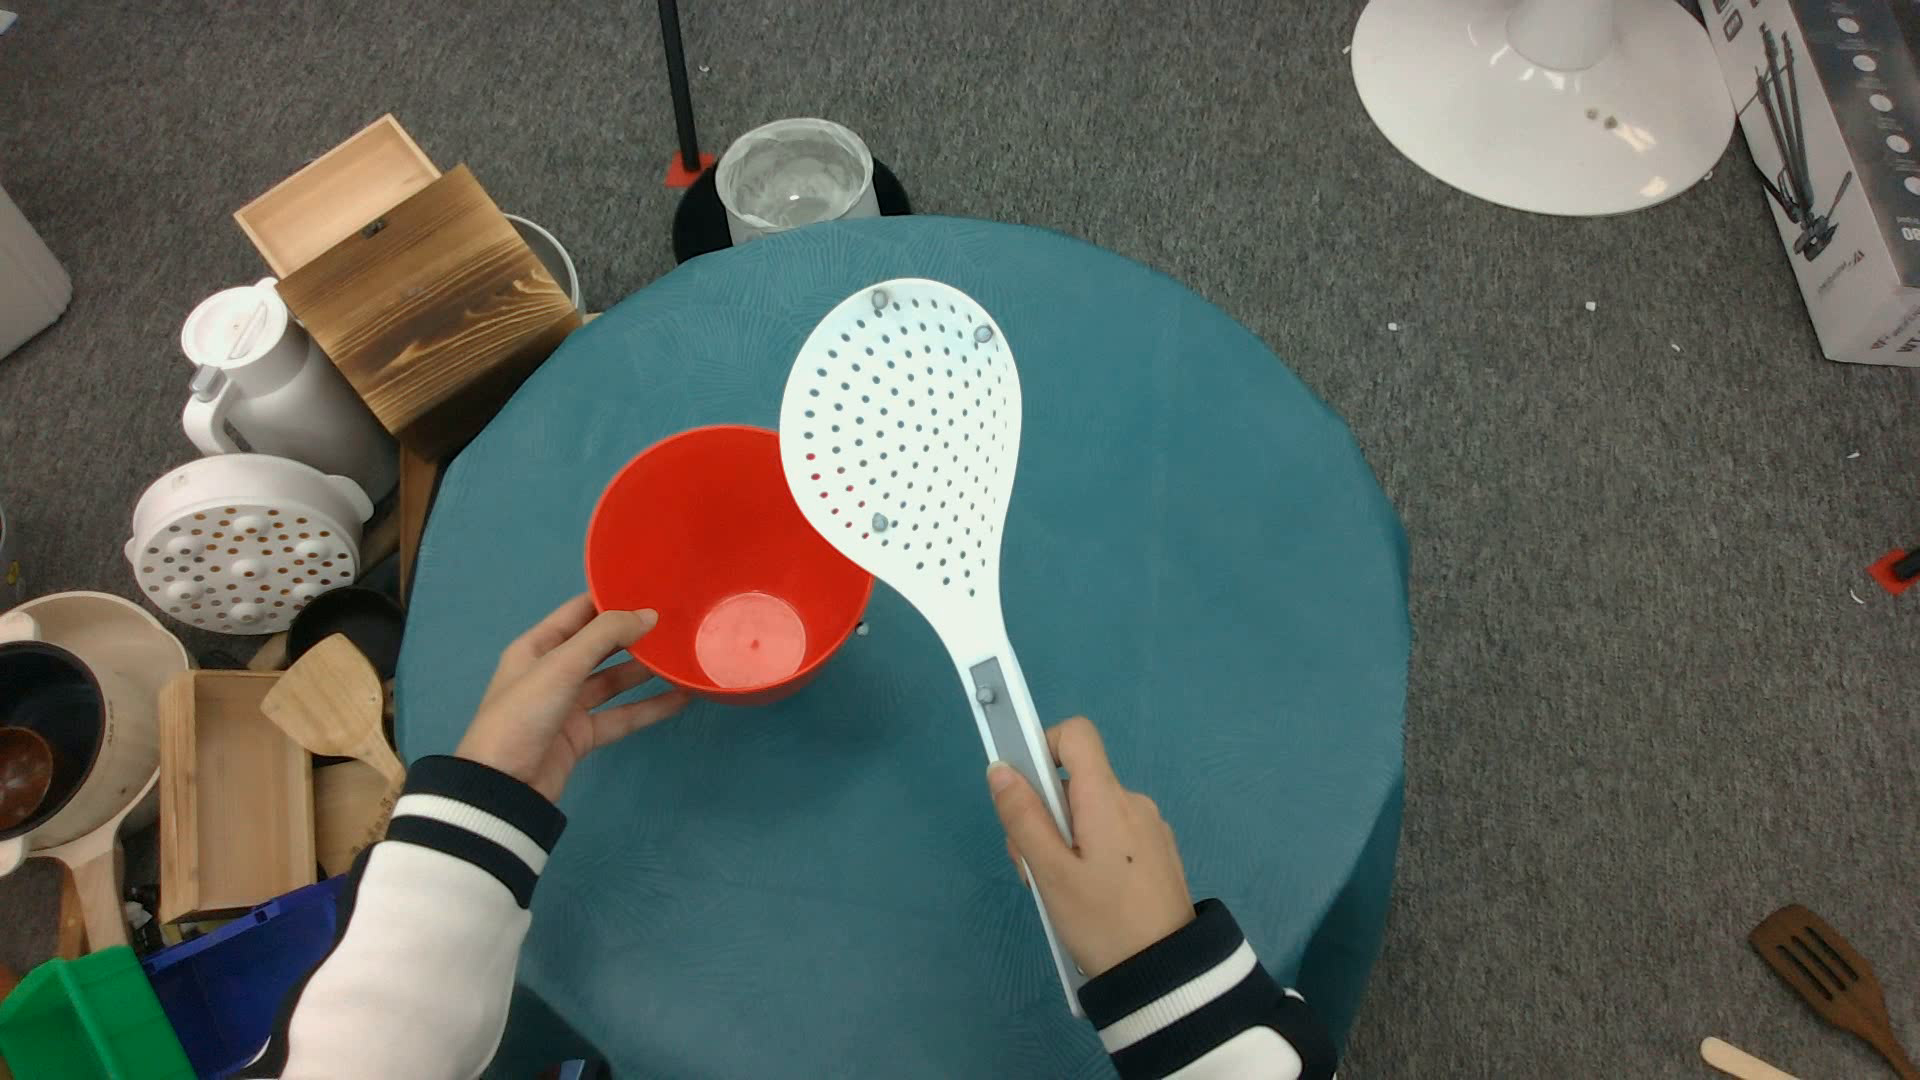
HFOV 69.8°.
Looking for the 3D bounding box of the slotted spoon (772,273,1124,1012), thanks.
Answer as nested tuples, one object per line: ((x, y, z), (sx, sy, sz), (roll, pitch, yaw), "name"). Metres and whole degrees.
((0.004, 0.039, 0.632), (0.135, 0.046, 0.350), (-27, 69, 25), "slotted spoon")

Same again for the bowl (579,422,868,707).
((-0.126, 0.026, 0.747), (0.148, 0.104, 0.148), (4, 59, -6), "bowl")
